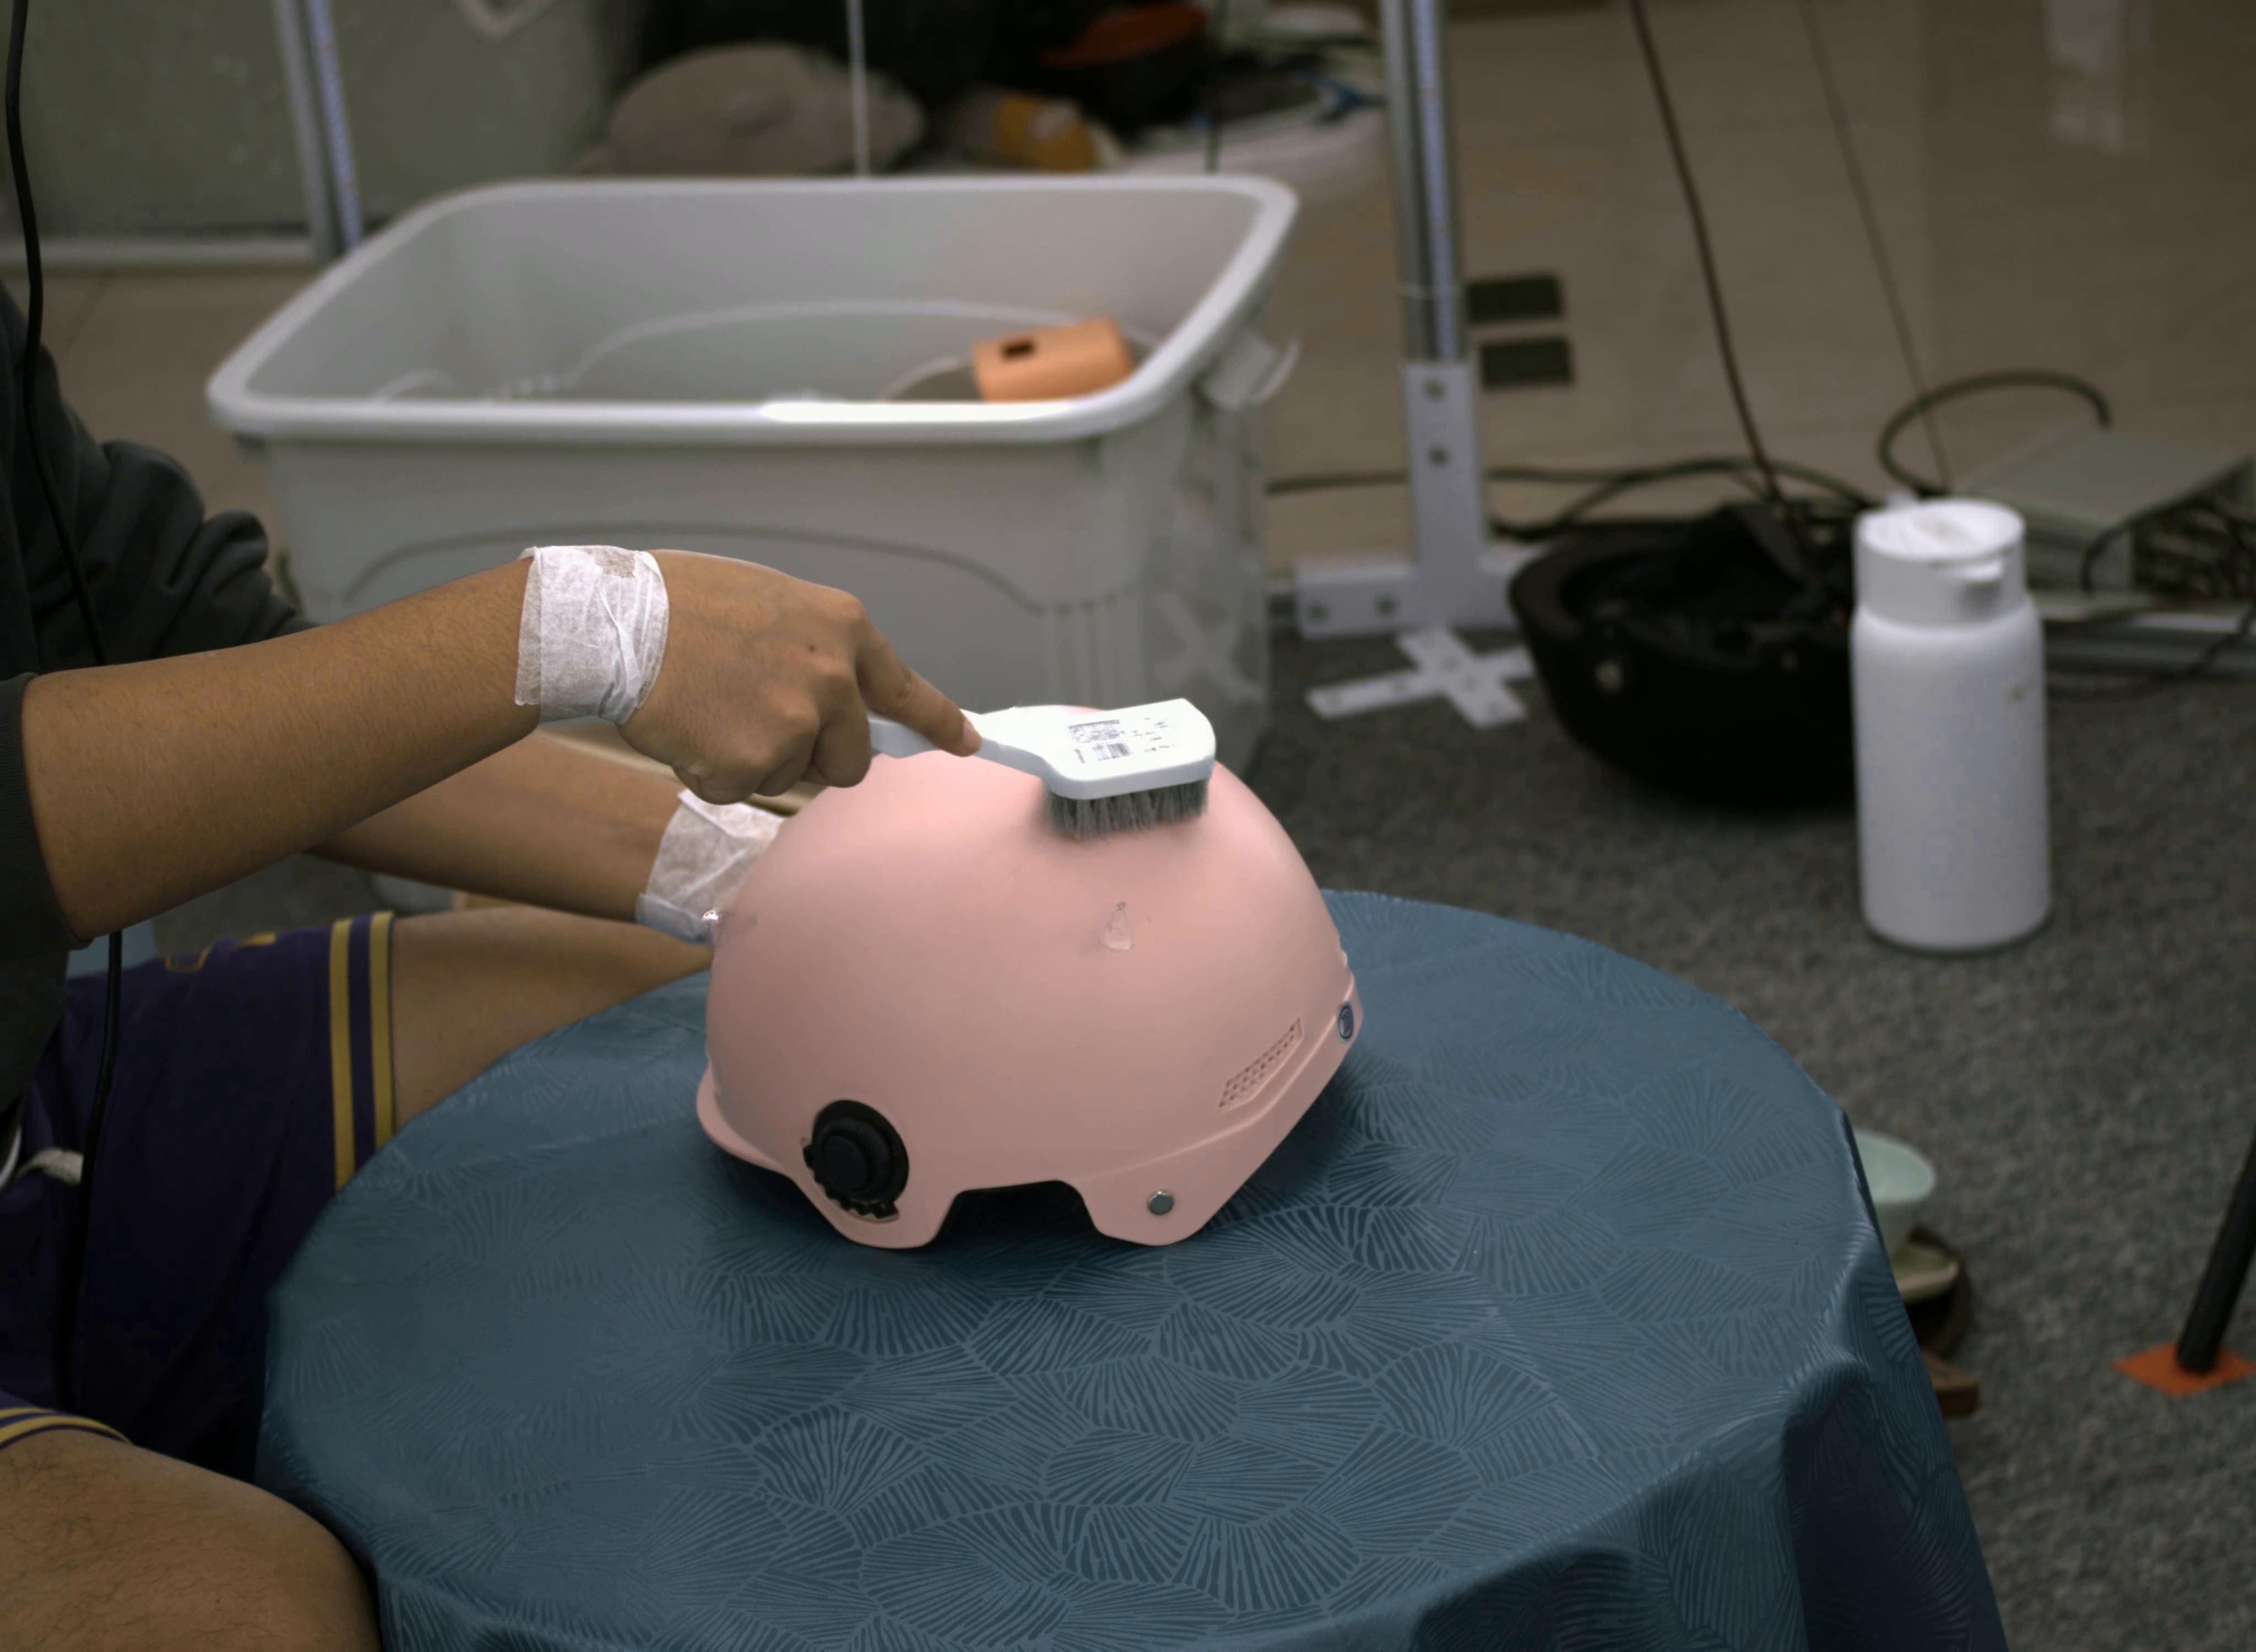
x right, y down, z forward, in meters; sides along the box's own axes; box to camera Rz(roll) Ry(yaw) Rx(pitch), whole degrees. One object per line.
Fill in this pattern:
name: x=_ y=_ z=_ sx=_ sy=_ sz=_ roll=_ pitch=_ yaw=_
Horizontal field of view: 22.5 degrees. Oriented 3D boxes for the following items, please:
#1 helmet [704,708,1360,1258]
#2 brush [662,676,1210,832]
helmet: x=-0.049 y=0.042 z=2.170 sx=0.265 sy=0.161 sz=0.230 roll=0 pitch=30 yaw=22
brush: x=-0.070 y=-0.026 z=2.029 sx=0.243 sy=0.051 sz=0.034 roll=2 pitch=44 yaw=-38
